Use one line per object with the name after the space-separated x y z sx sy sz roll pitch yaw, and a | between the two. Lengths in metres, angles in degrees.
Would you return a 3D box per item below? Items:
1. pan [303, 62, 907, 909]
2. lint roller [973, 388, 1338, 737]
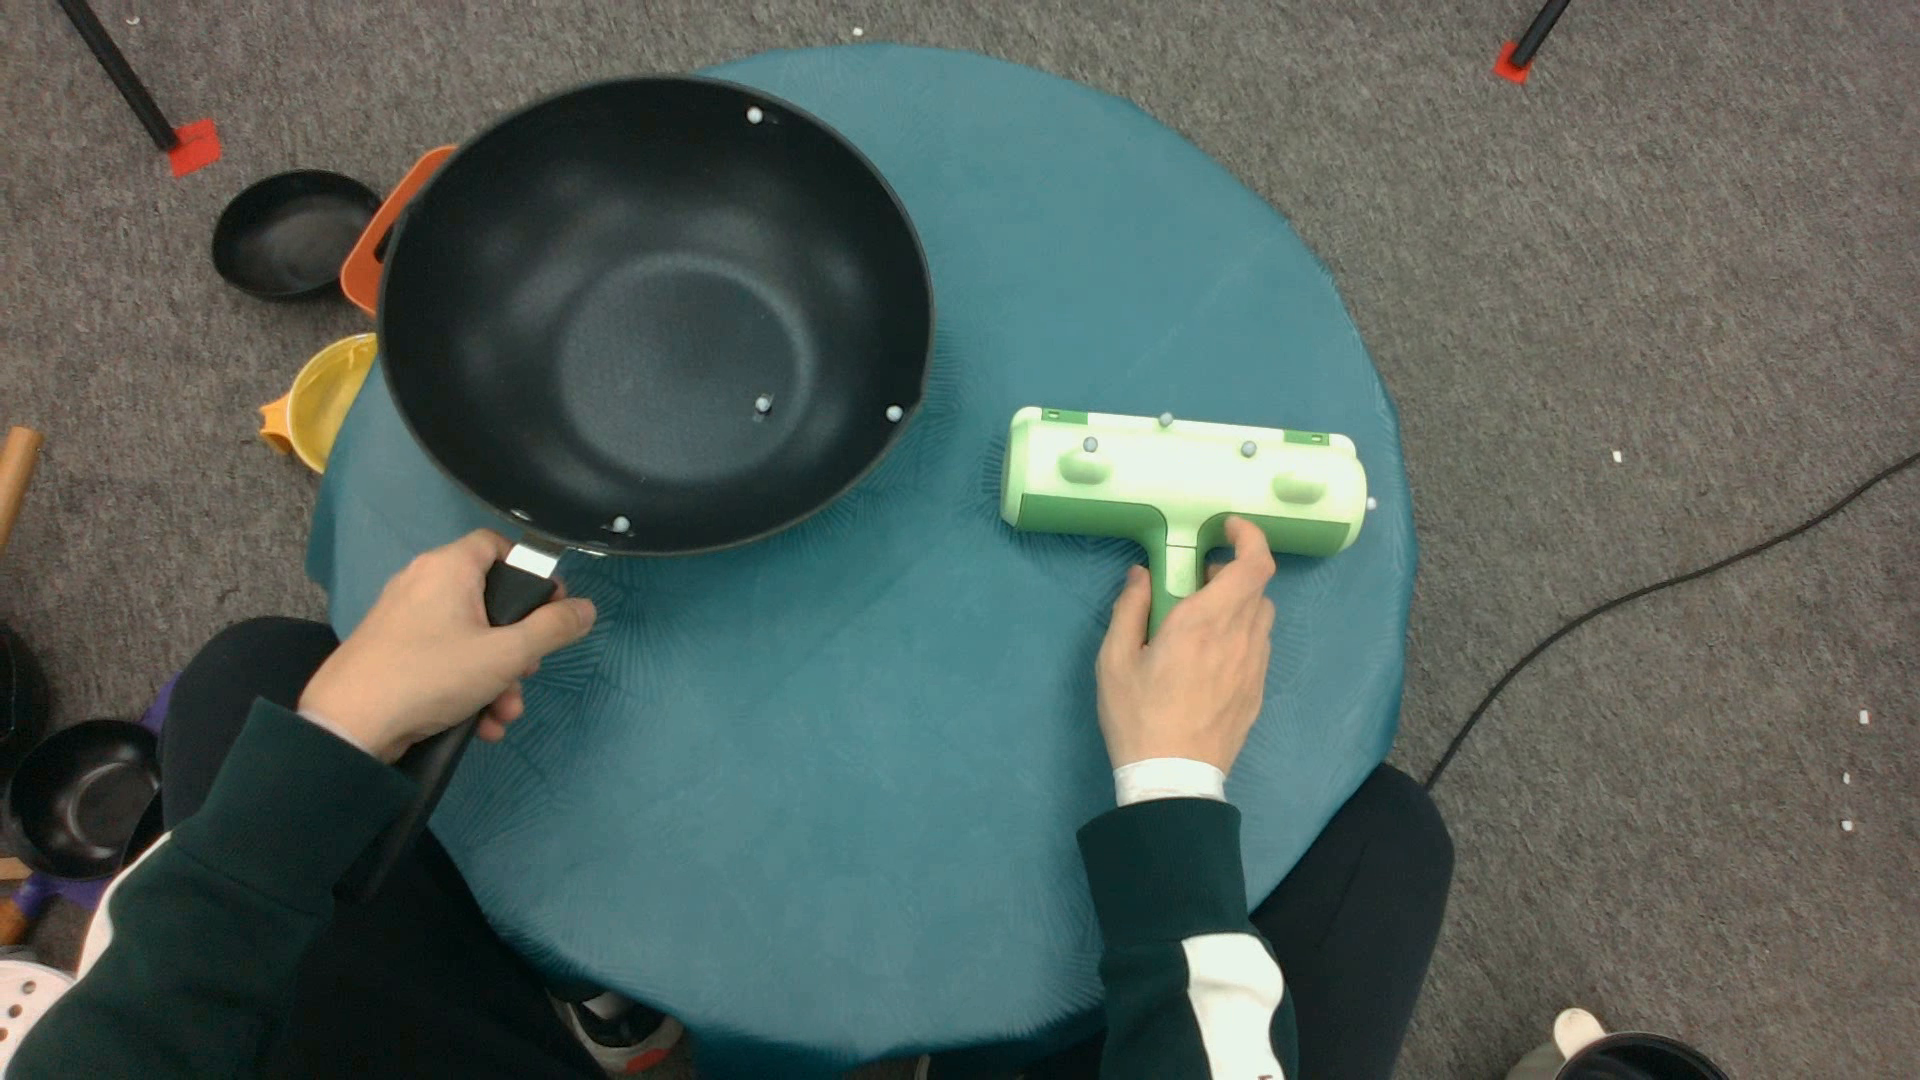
-0.200 -0.034 0.713 0.288 0.086 0.465 19 71 2 | pan
0.106 0.007 0.730 0.198 0.082 0.184 4 66 -5 | lint roller
